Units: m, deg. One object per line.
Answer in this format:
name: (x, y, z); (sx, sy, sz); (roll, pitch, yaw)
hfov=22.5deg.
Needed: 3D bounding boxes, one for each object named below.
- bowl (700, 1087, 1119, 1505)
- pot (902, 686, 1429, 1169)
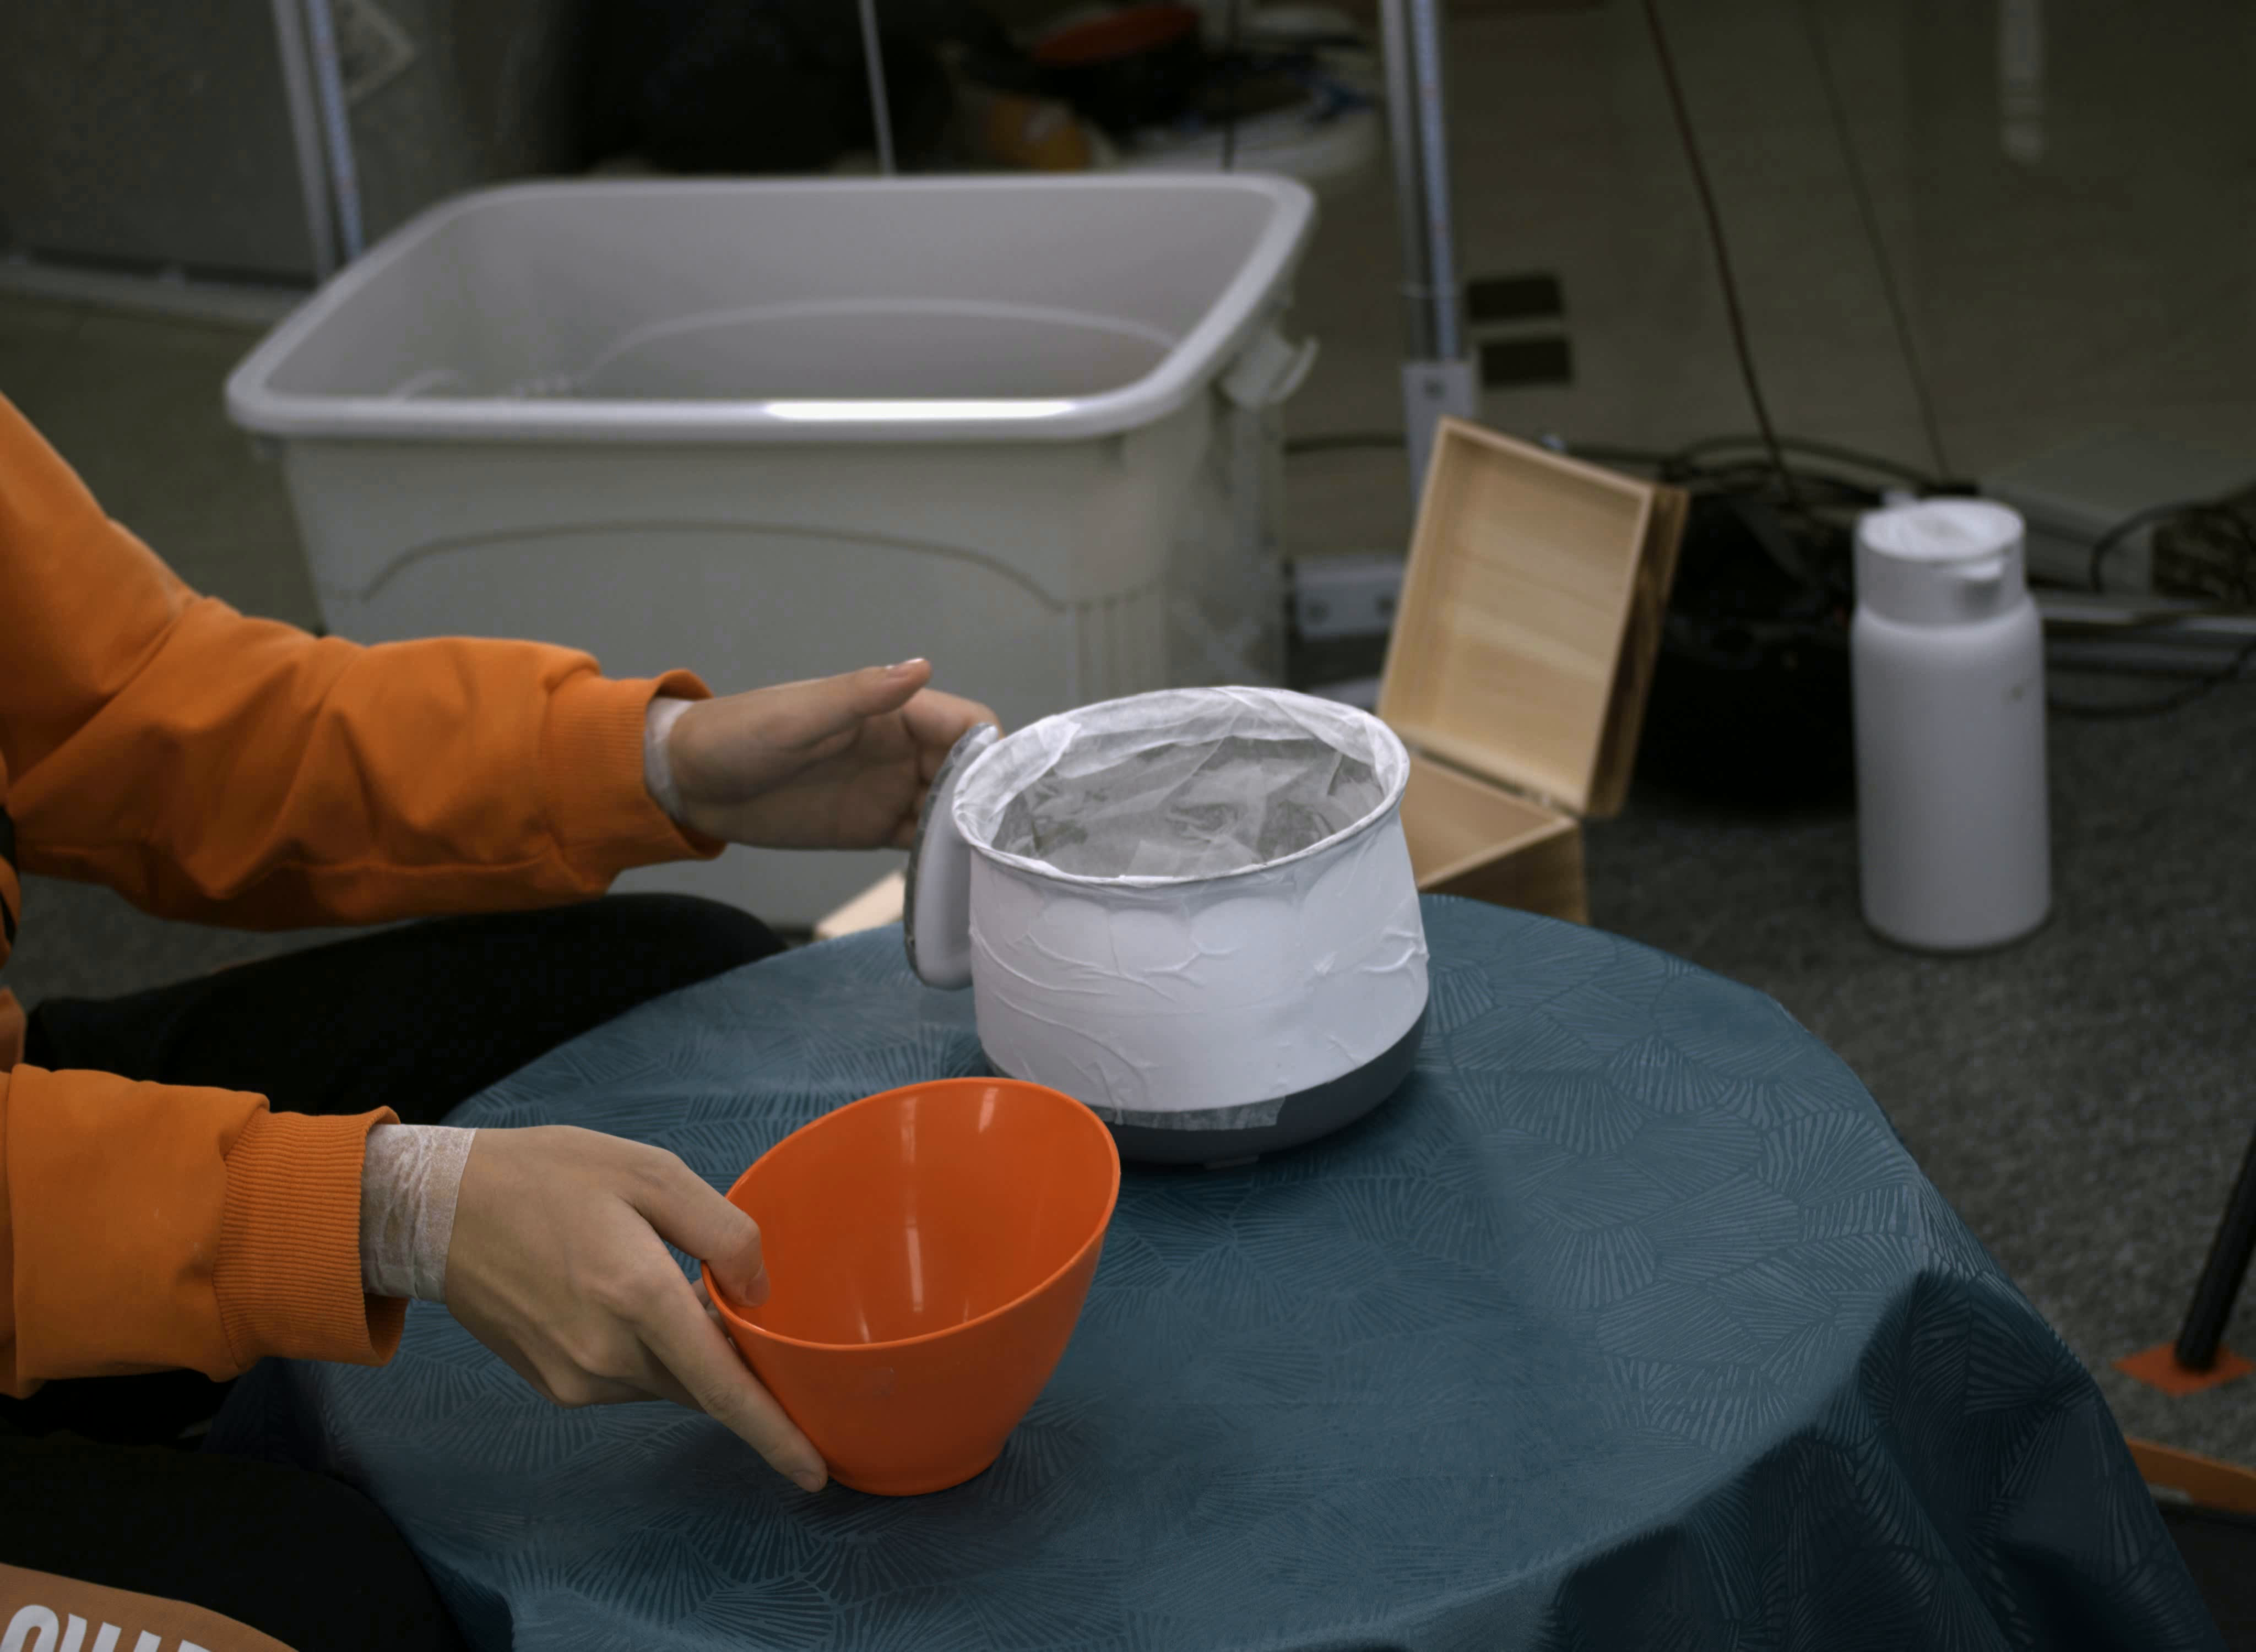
bowl: (-0.072, 0.171, 1.975); (0.148, 0.106, 0.145); (-4, 29, 2)
pot: (0.004, 0.035, 2.204); (0.232, 0.139, 0.177); (14, 31, 35)
